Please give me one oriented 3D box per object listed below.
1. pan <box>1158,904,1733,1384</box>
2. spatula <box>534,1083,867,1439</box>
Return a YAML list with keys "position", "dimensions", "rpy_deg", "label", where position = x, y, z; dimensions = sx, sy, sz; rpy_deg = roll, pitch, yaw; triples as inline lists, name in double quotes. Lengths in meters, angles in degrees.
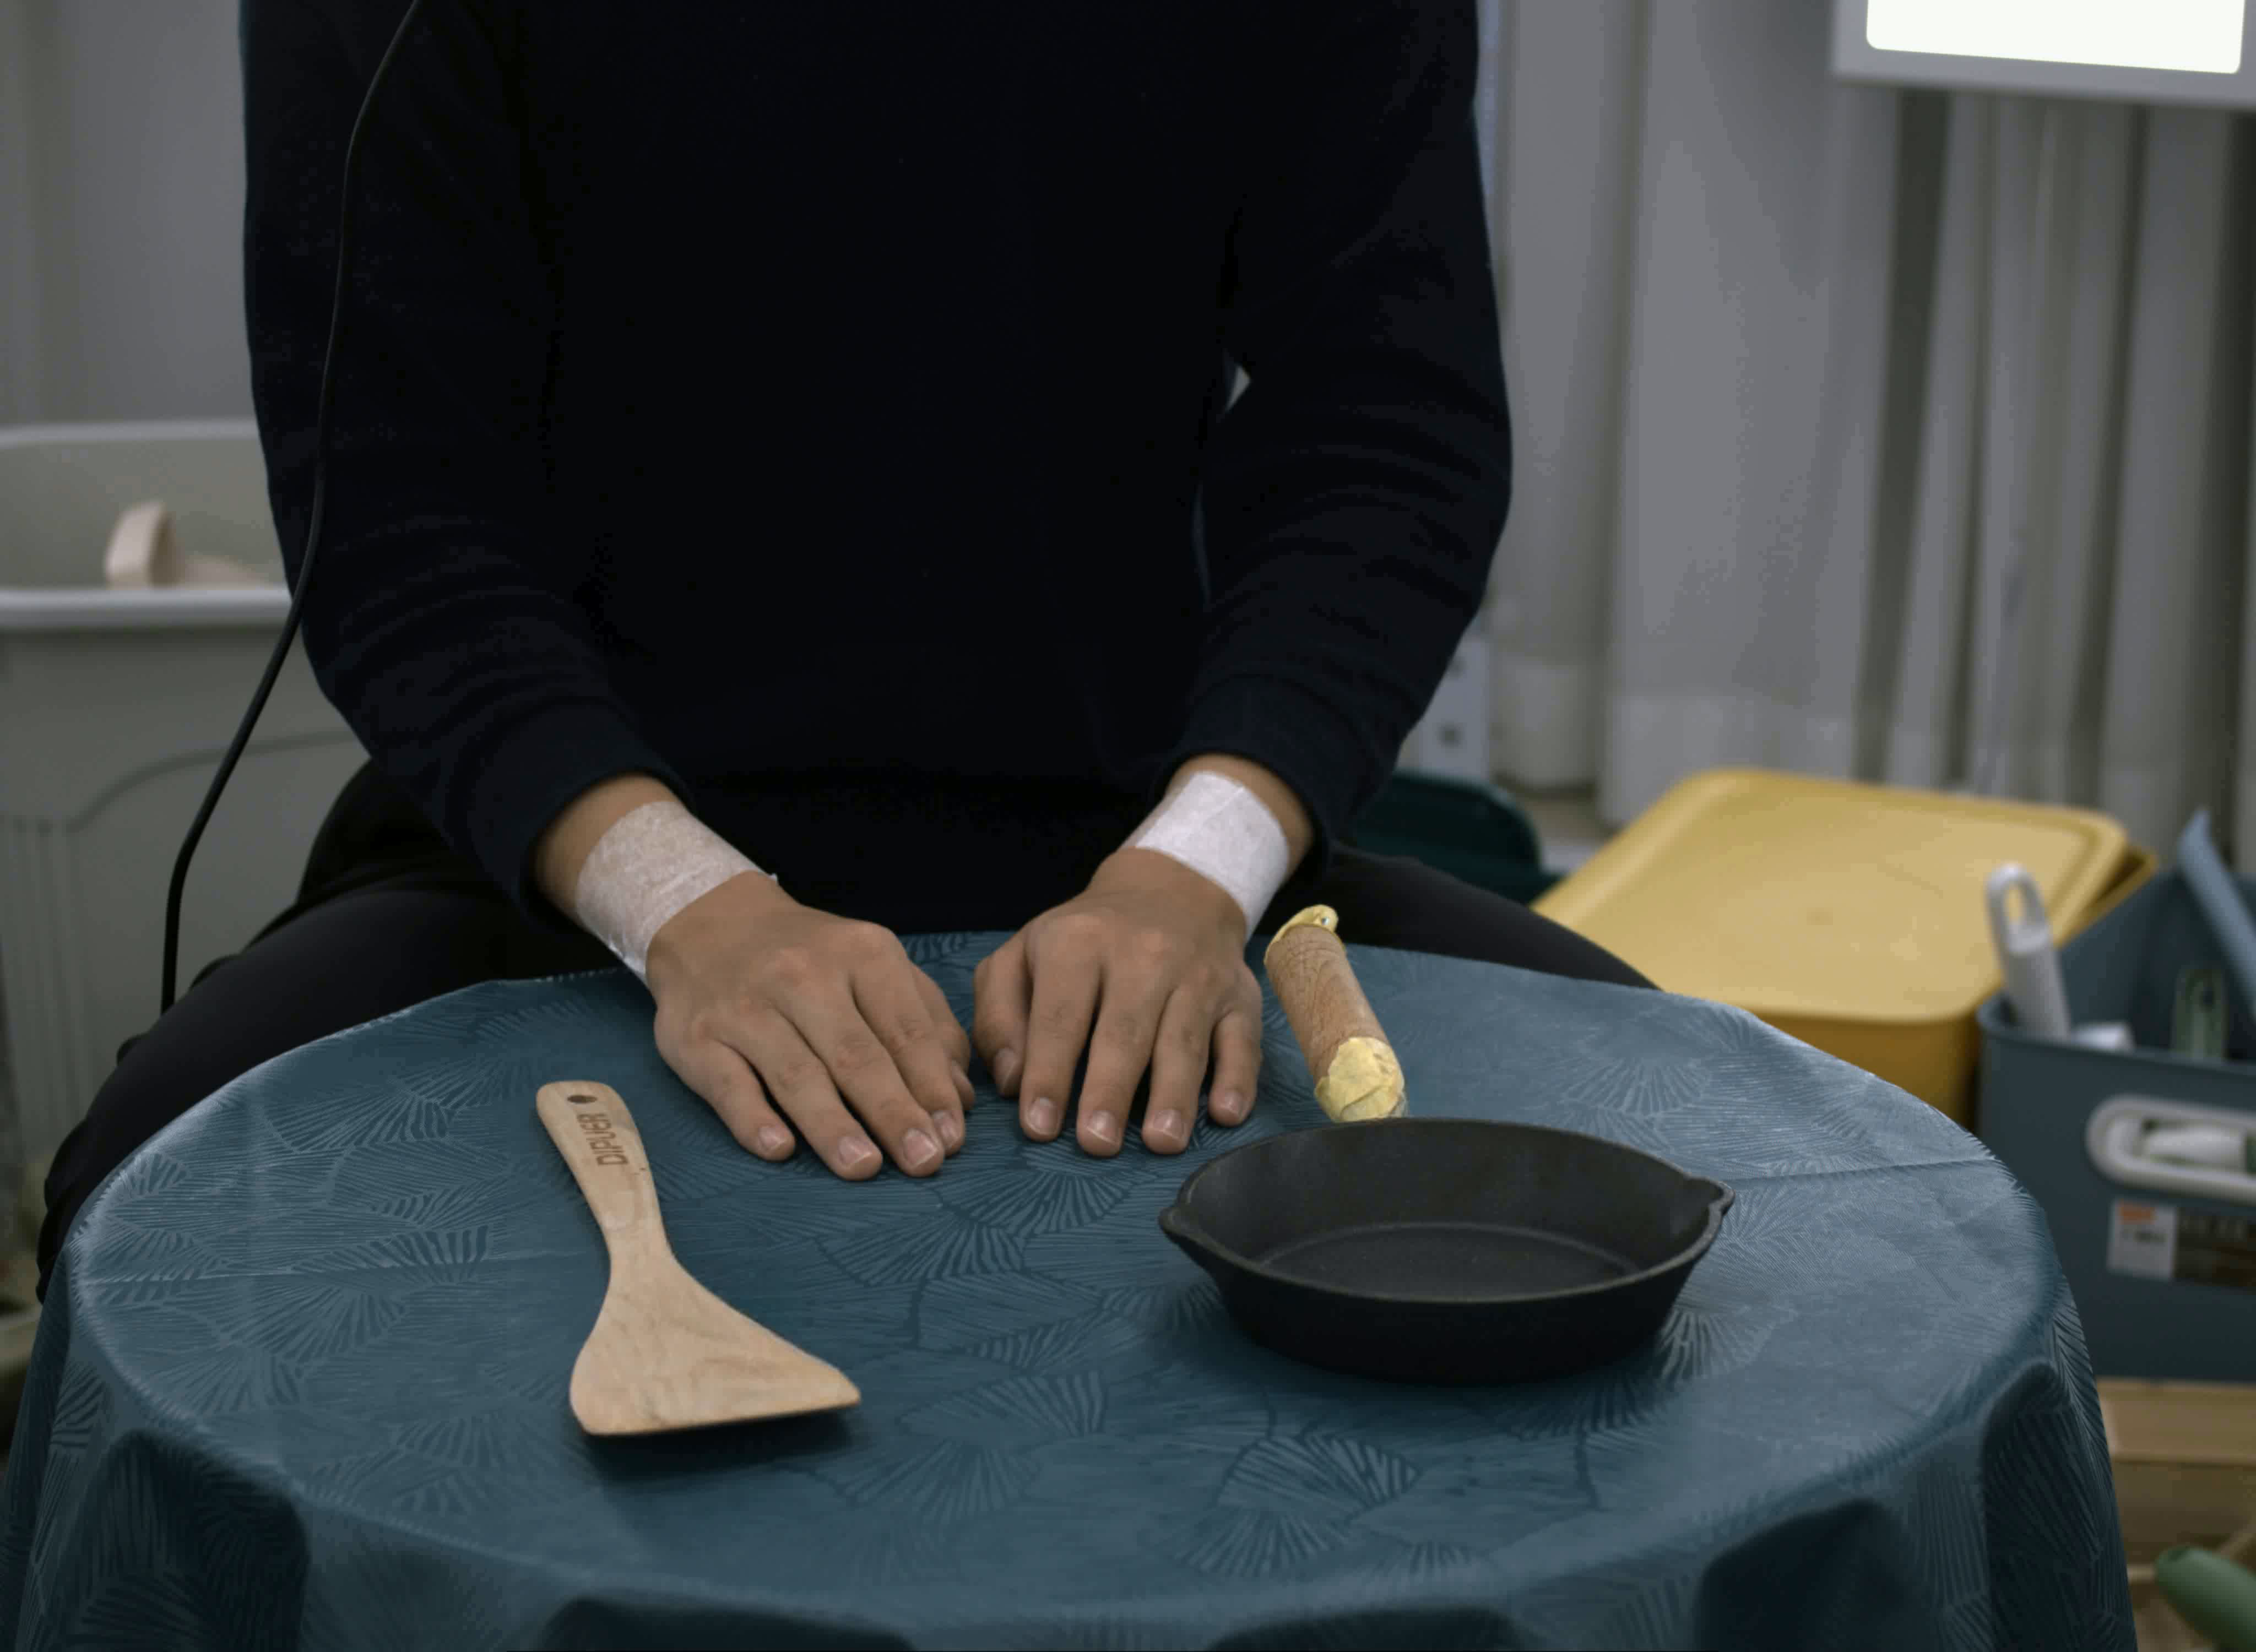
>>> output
- position: [0.081, 0.093, 1.600]
  dimensions: [0.169, 0.050, 0.321]
  rpy_deg: [-2, 17, -8]
  label: "pan"
- position: [-0.142, 0.123, 1.548]
  dimensions: [0.080, 0.016, 0.324]
  rpy_deg: [-2, 16, -13]
  label: "spatula"
